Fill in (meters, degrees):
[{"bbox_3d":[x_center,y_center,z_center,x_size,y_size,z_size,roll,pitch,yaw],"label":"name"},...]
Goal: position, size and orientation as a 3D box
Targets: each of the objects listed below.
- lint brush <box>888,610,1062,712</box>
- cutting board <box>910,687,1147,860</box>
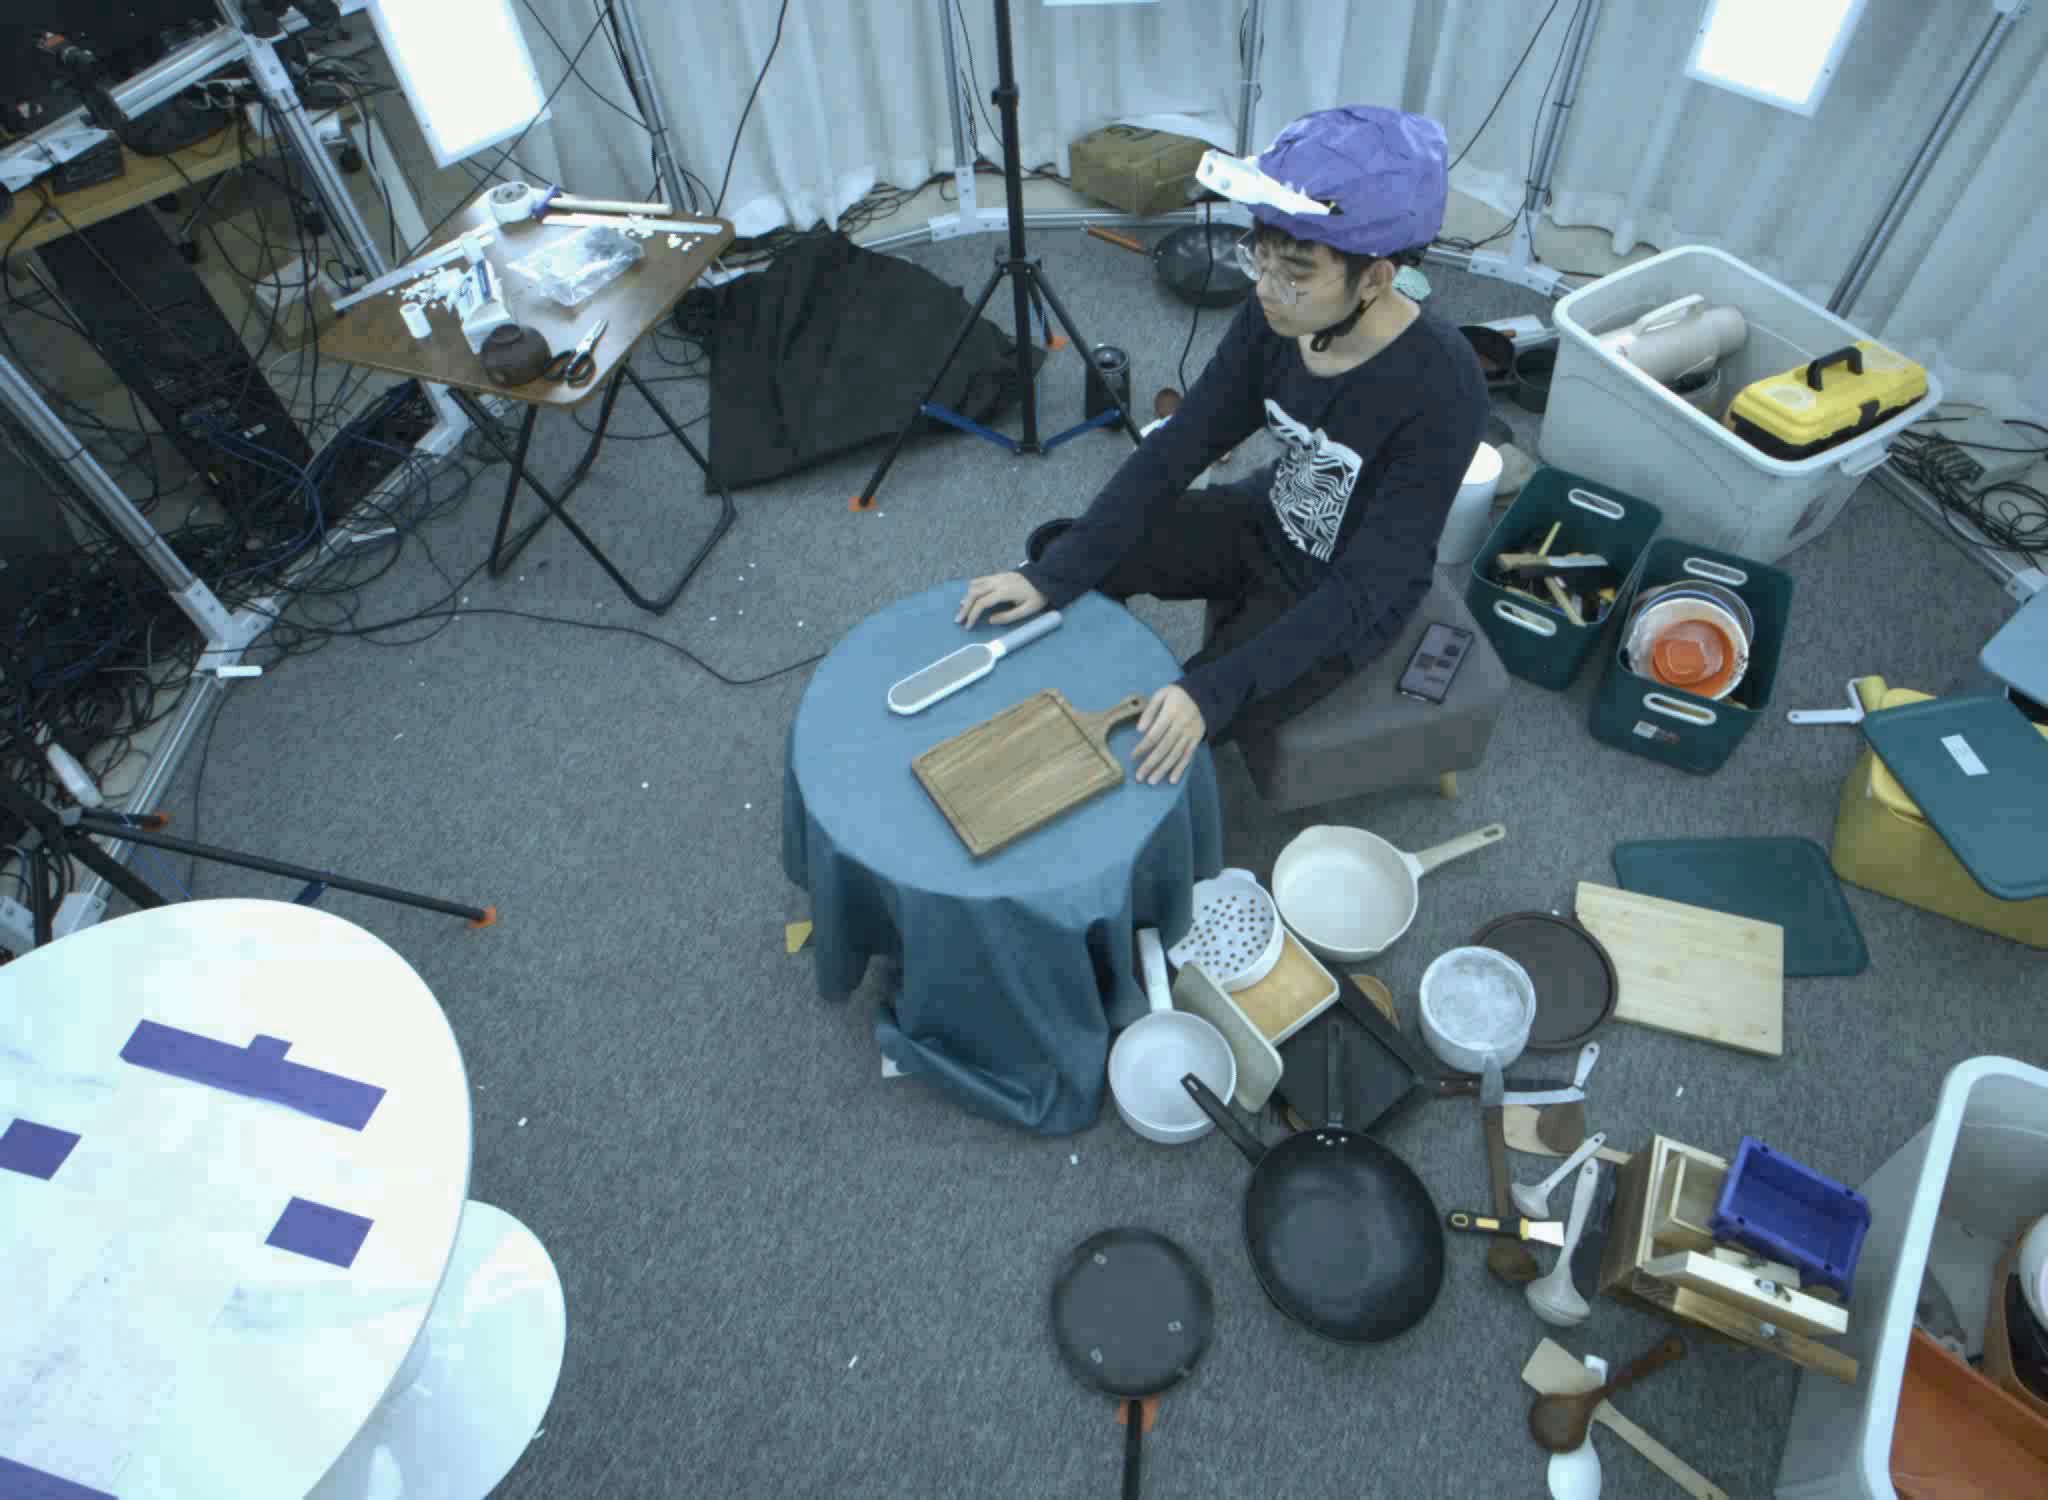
[{"bbox_3d":[-0.071,-0.140,1.880,0.311,0.021,0.059,-30,53,-19],"label":"lint brush"},{"bbox_3d":[0.032,0.006,1.778,0.355,0.023,0.197,-28,58,-18],"label":"cutting board"}]
